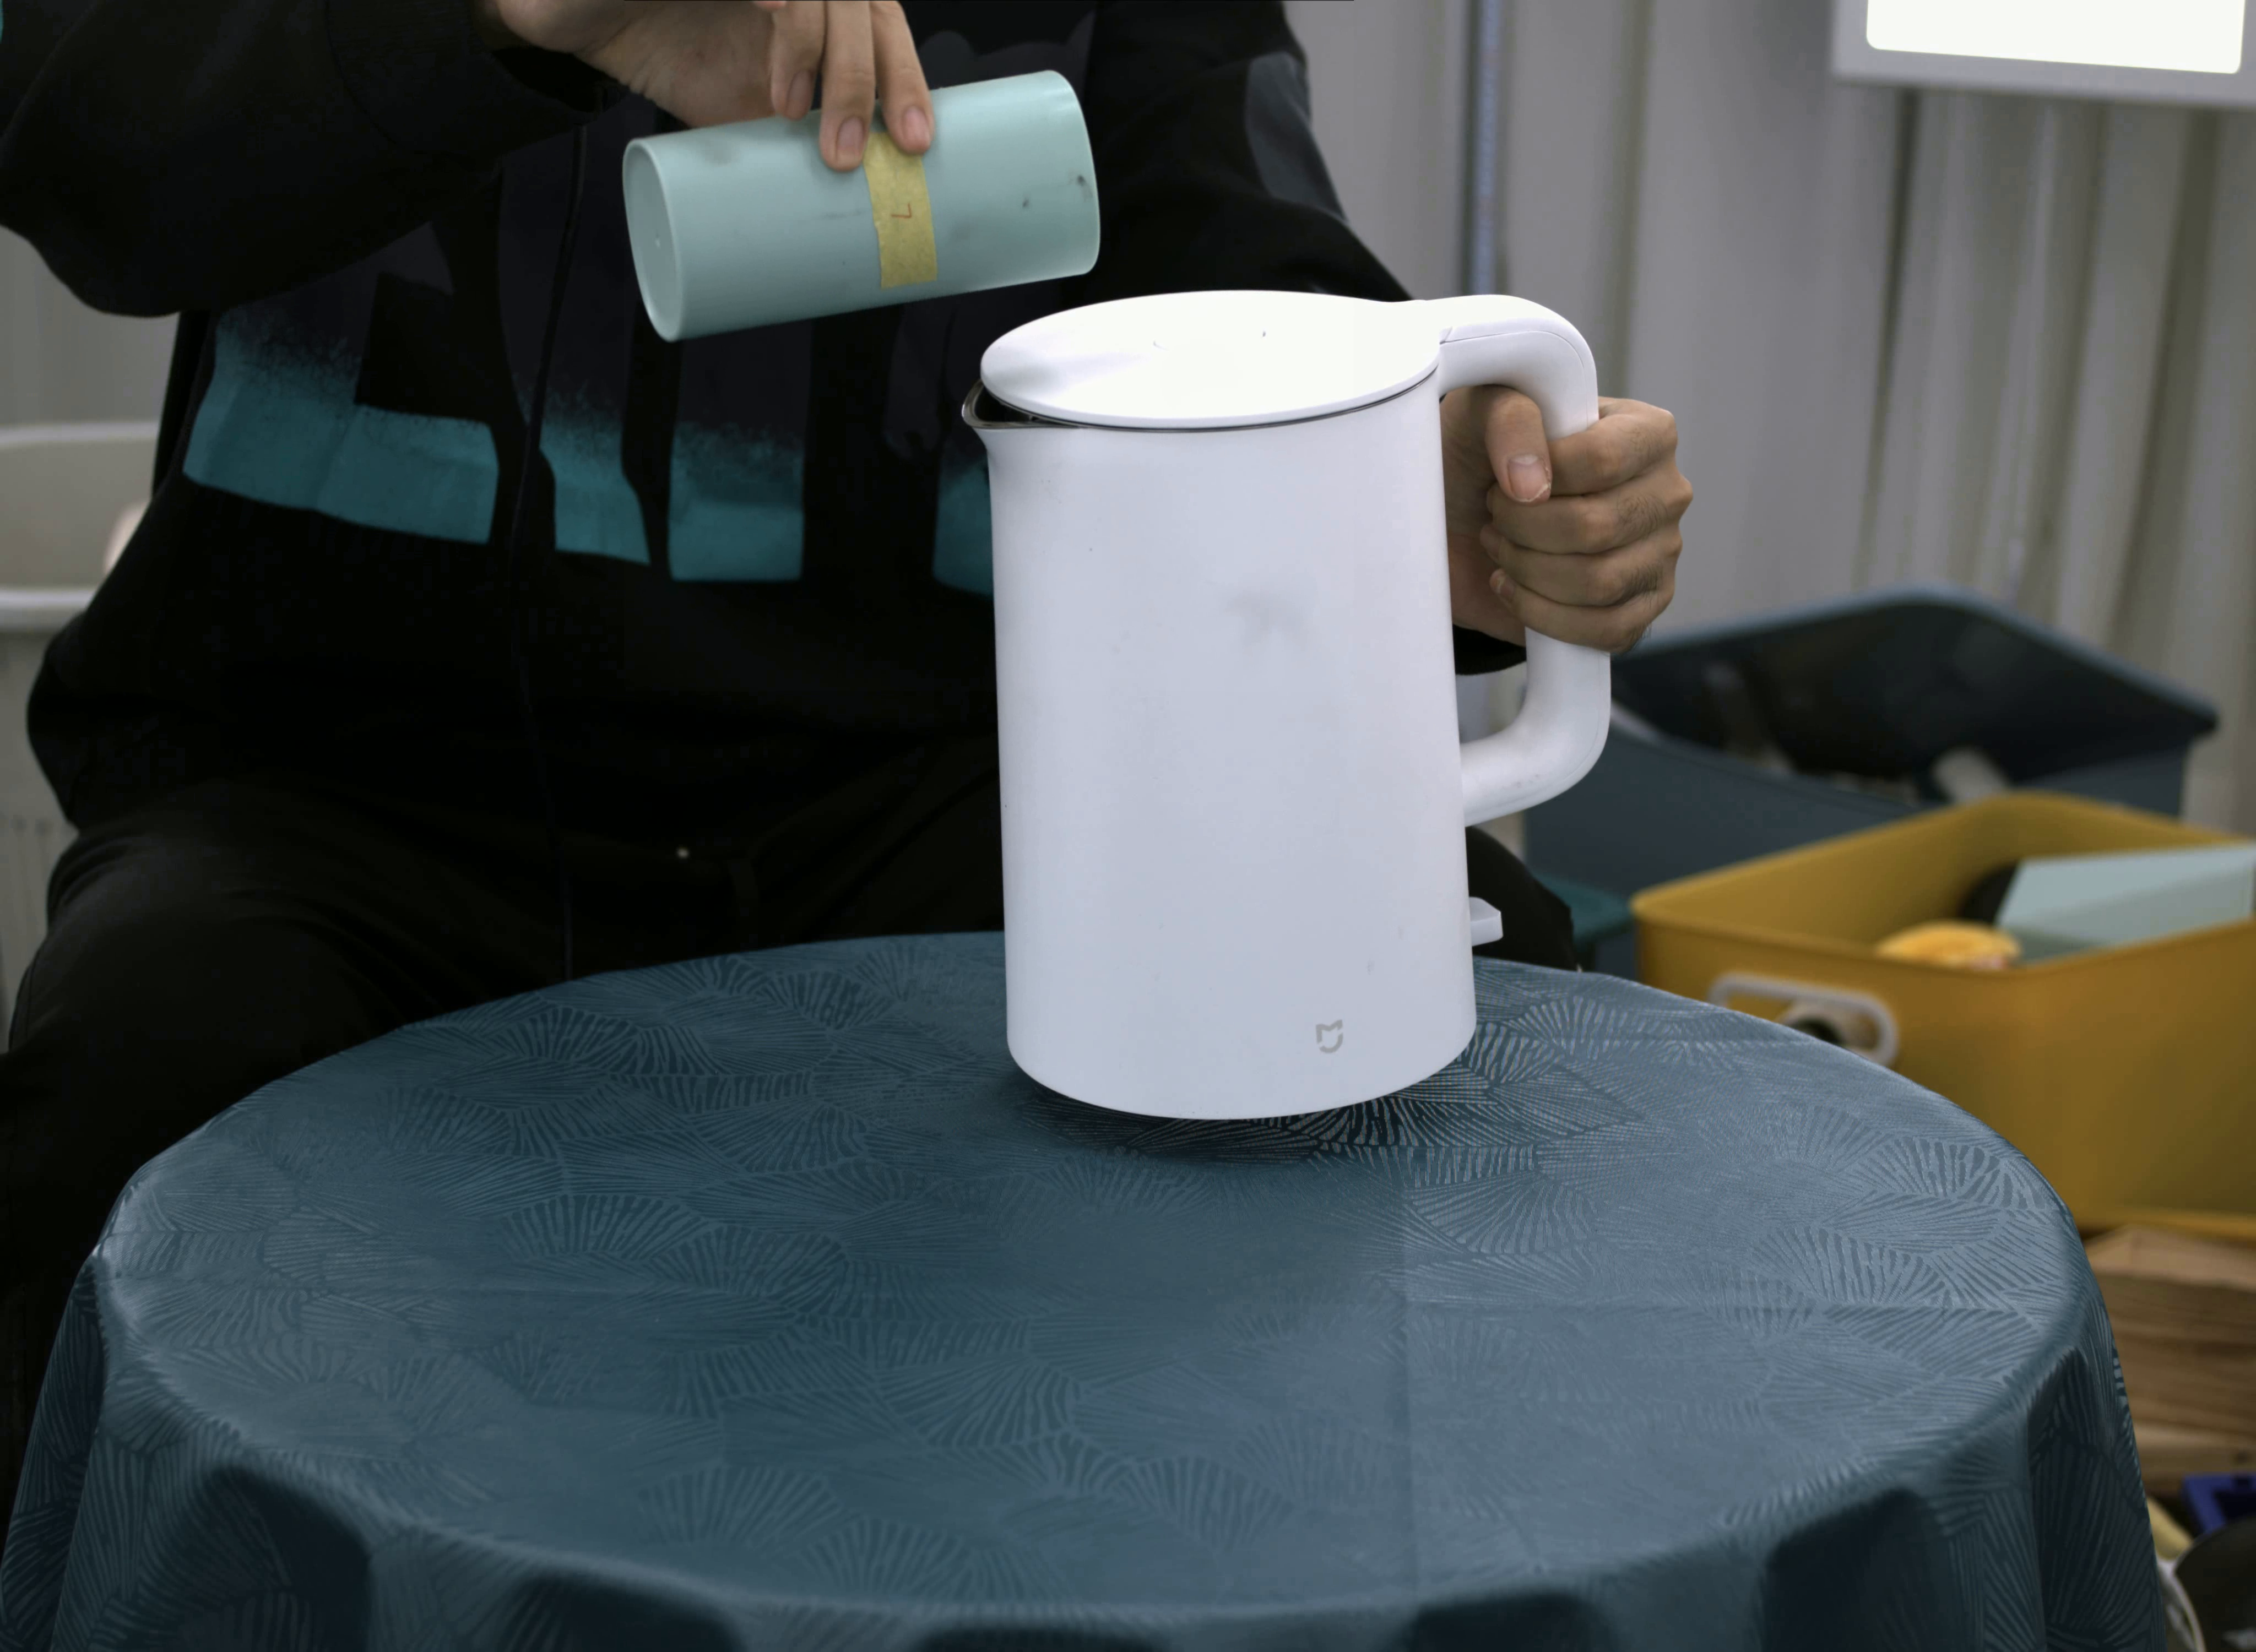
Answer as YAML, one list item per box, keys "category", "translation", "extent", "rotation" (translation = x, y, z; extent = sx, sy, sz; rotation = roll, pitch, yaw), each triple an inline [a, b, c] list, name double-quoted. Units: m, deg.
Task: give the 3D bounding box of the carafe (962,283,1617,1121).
- category: "carafe"
  translation: [0.057, -0.046, 1.675]
  extent: [0.213, 0.242, 0.150]
  rotation: [-12, 24, -20]

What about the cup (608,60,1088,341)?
- category: "cup"
  translation: [-0.084, -0.187, 1.571]
  extent: [0.132, 0.067, 0.066]
  rotation: [-12, 19, -15]
